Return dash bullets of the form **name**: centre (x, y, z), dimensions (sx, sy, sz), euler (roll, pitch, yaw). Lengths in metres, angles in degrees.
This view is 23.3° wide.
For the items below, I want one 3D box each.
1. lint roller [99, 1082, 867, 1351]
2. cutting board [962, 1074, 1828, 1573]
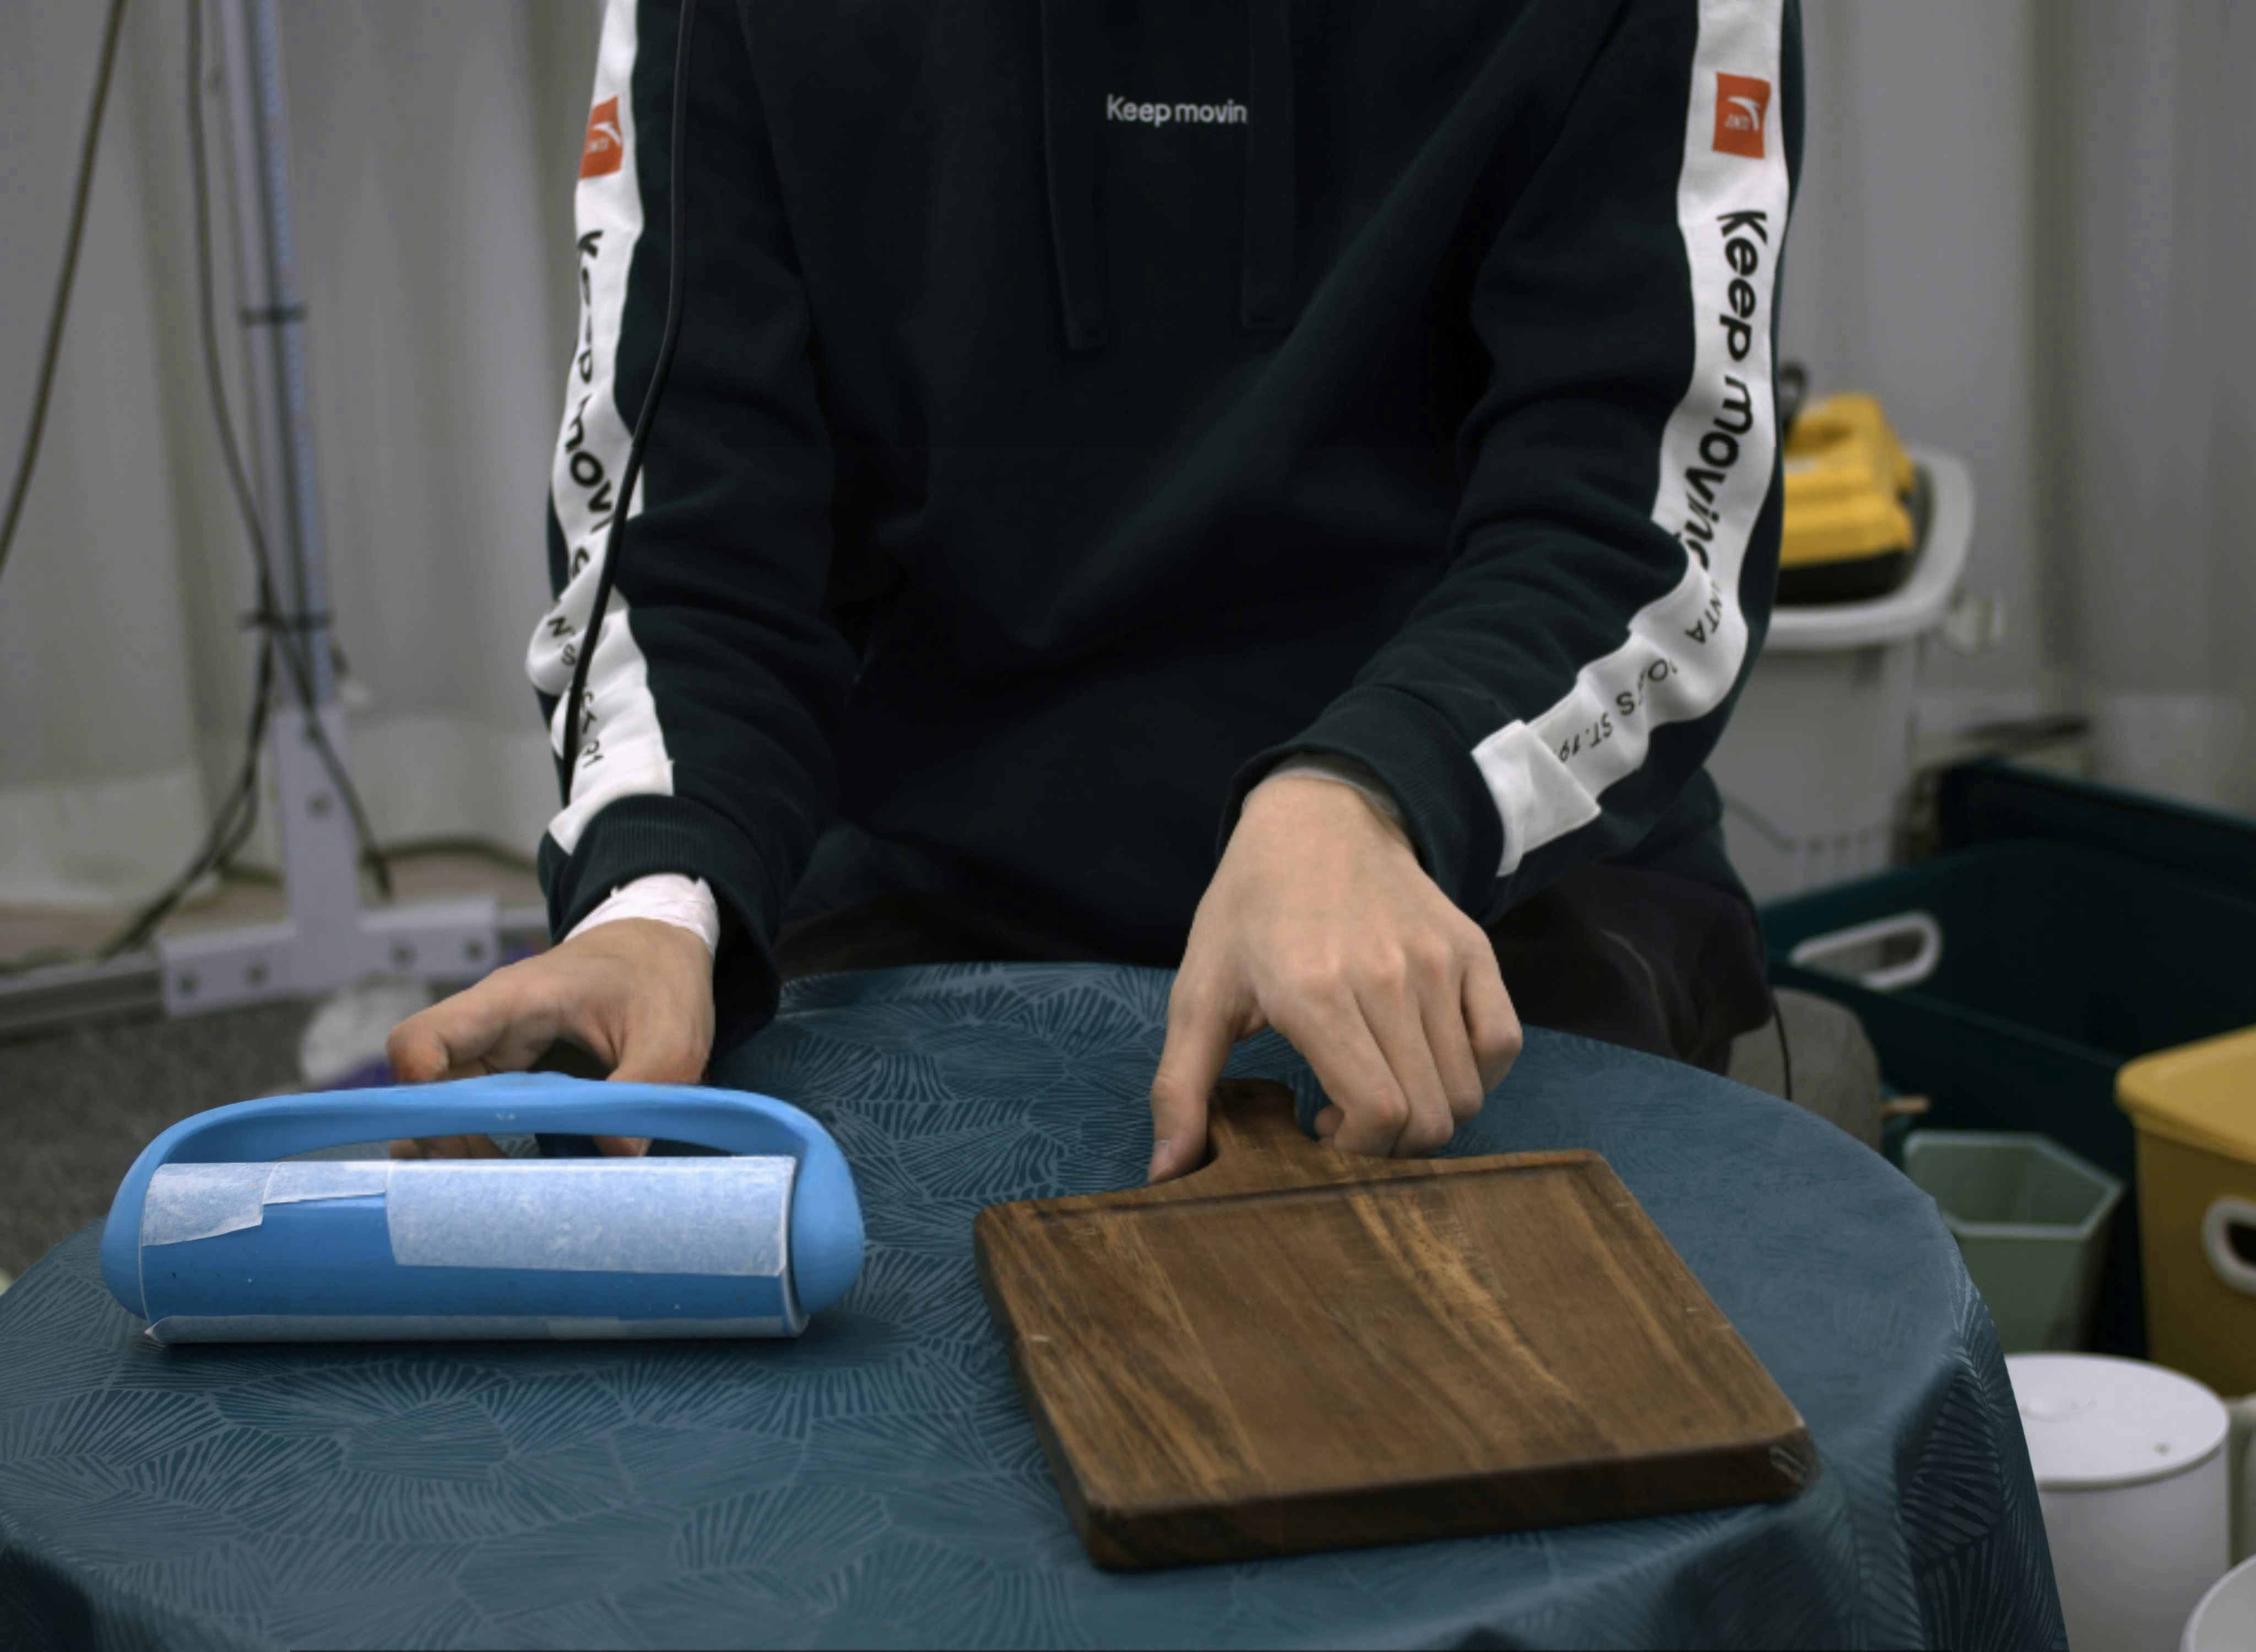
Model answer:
- **lint roller**: centre (-0.187, 0.109, 1.666), dimensions (0.228, 0.067, 0.181), euler (-3, 15, 4)
- **cutting board**: centre (0.060, 0.133, 1.590), dimensions (0.200, 0.023, 0.355), euler (-5, 15, -9)
